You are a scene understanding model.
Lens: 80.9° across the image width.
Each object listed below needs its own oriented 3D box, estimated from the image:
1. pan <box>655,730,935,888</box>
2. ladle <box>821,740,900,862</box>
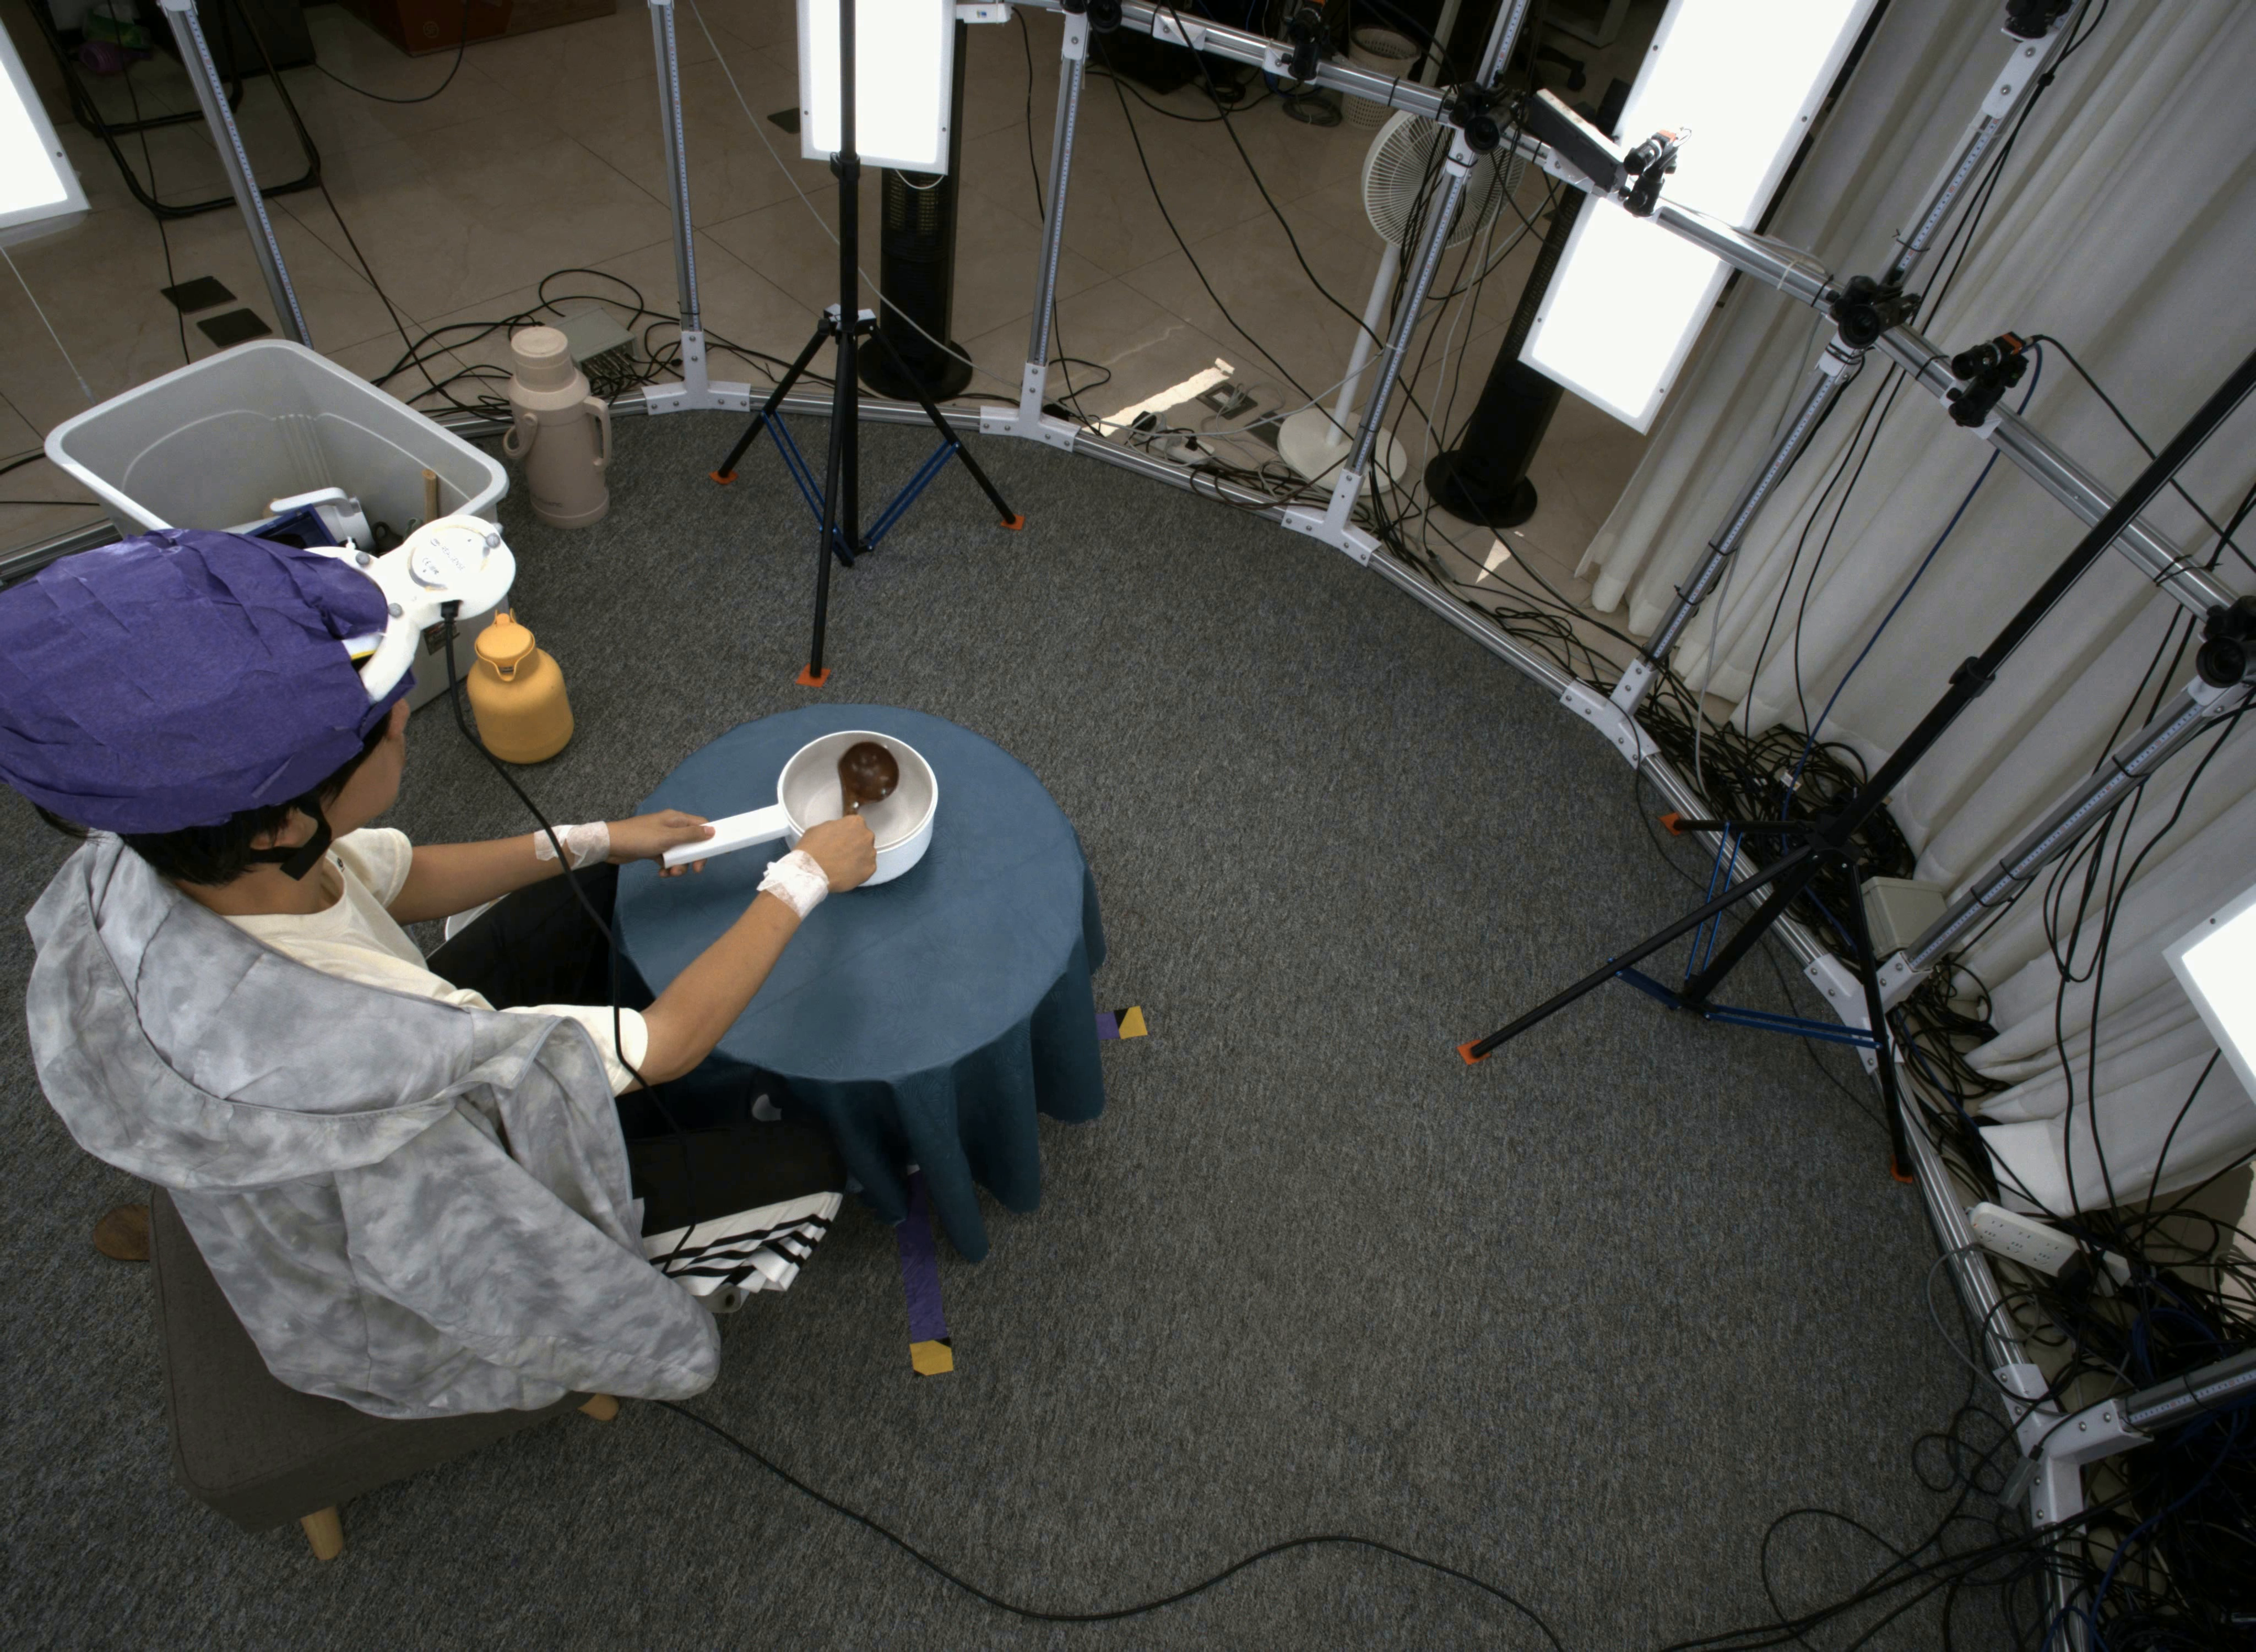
[{"bbox_3d":[-0.420,0.003,1.661,0.356,0.104,0.196,-17,60,-24],"label":"pan"},{"bbox_3d":[-0.327,-0.035,1.581,0.083,0.077,0.268,31,13,-15],"label":"ladle"}]
